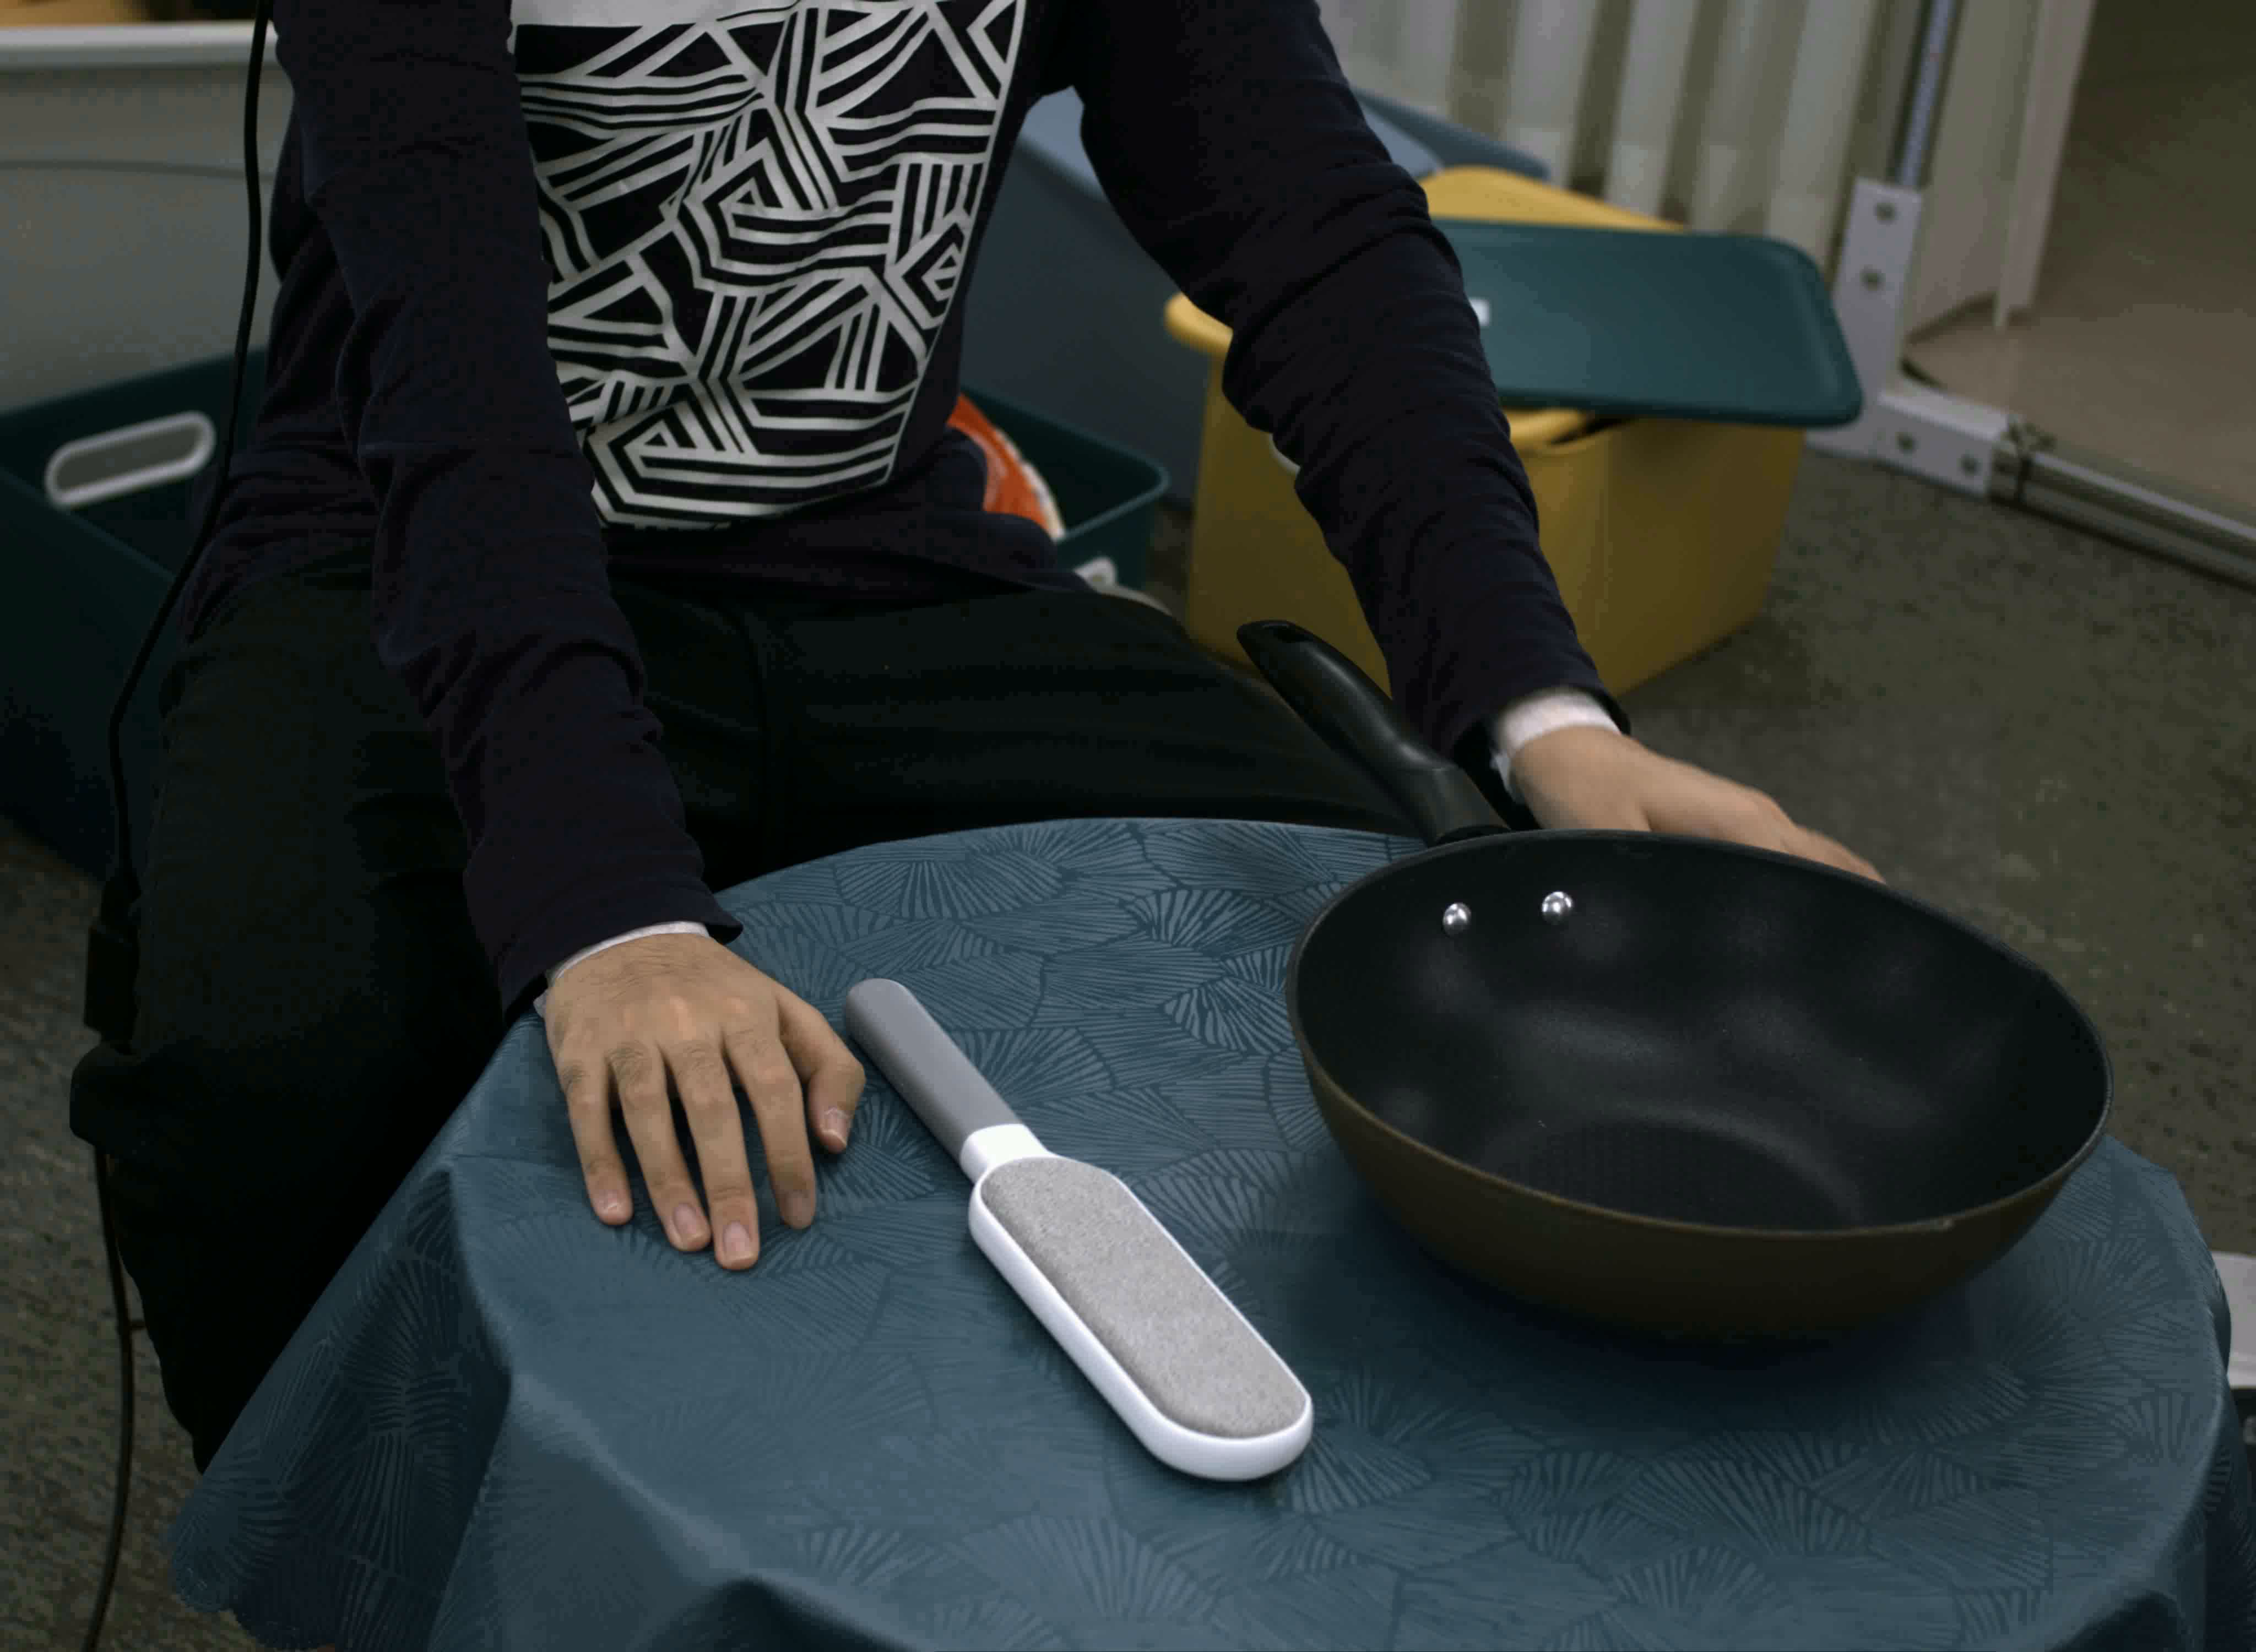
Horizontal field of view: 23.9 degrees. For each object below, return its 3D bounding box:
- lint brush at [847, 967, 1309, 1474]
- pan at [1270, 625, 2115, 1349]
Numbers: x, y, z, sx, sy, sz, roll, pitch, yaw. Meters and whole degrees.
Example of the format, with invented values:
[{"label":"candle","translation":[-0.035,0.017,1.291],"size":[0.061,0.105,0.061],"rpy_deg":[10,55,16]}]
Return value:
[{"label":"lint brush","translation":[-0.024,0.125,1.765],"size":[0.060,0.021,0.312],"rpy_deg":[-12,32,-22]},{"label":"pan","translation":[0.148,0.059,1.876],"size":[0.286,0.086,0.467],"rpy_deg":[-6,29,-25]}]
